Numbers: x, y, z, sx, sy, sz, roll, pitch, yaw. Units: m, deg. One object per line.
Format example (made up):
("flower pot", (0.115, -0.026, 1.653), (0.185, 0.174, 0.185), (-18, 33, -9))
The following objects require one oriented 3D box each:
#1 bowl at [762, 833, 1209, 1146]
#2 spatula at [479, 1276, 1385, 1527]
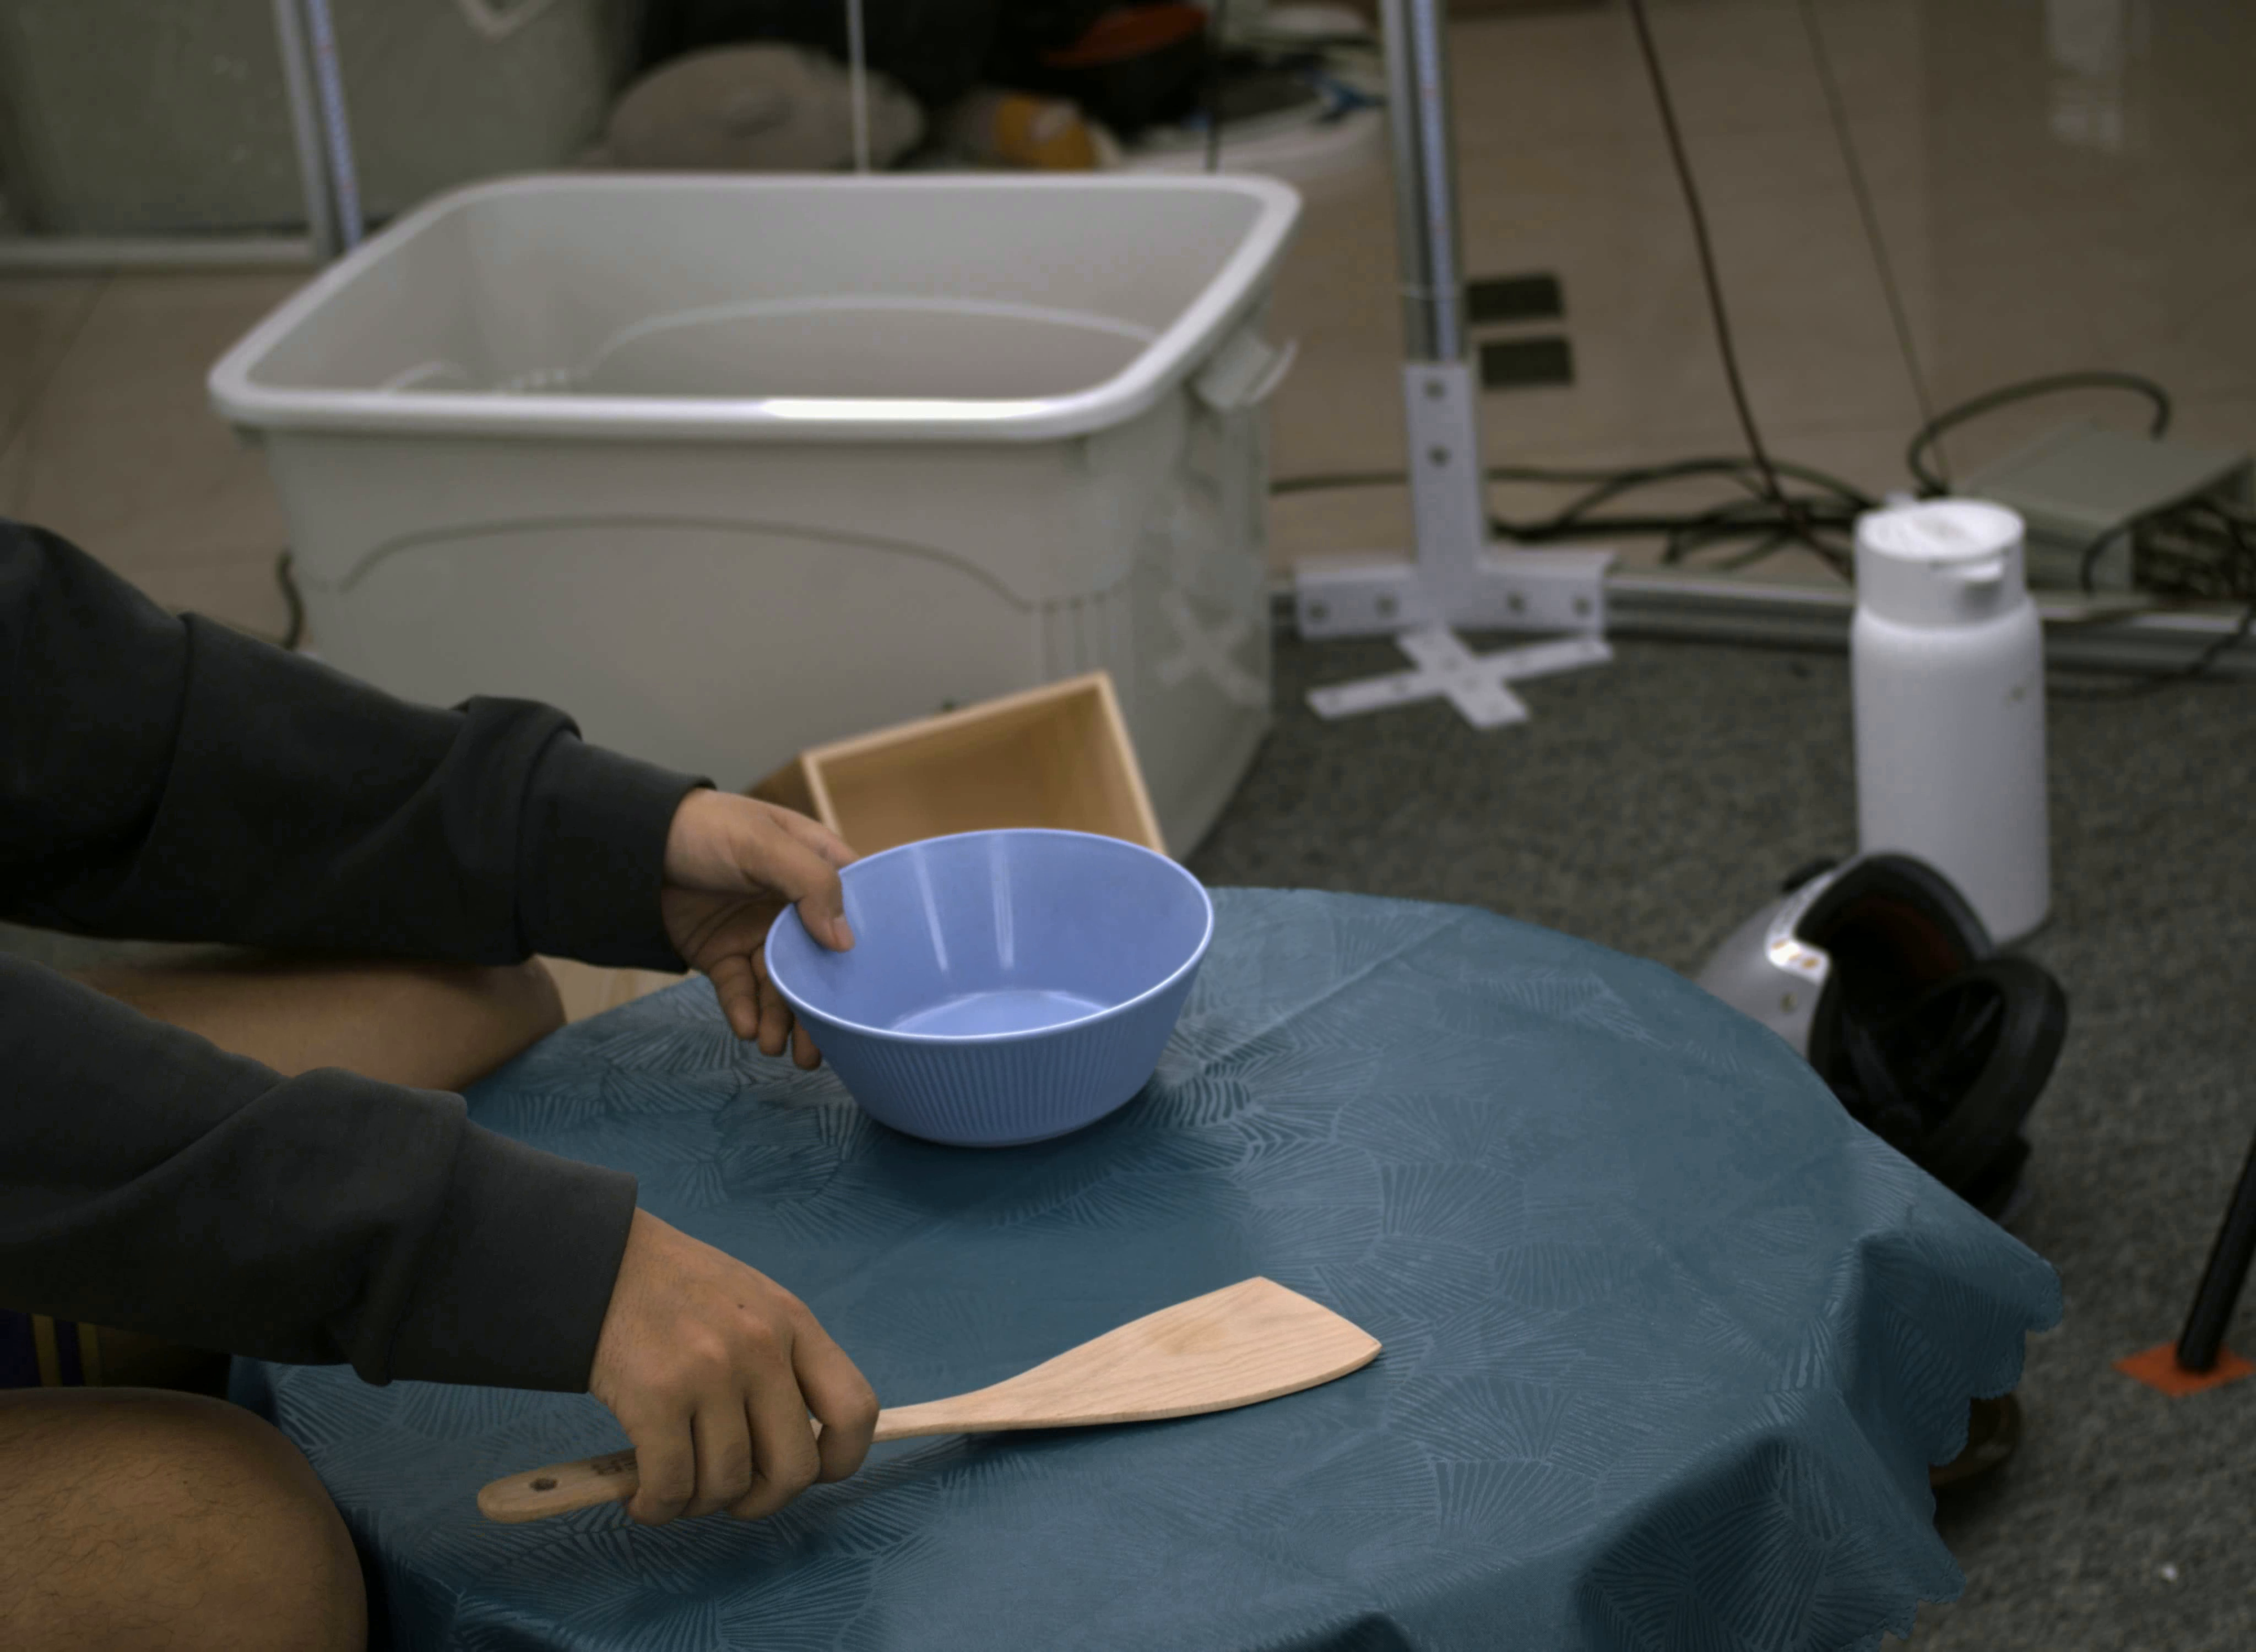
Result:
("bowl", (-0.053, 0.070, 2.220), (0.176, 0.071, 0.173), (-4, 27, 2))
("spatula", (-0.071, 0.203, 1.984), (0.326, 0.017, 0.079), (-9, 24, -23))
